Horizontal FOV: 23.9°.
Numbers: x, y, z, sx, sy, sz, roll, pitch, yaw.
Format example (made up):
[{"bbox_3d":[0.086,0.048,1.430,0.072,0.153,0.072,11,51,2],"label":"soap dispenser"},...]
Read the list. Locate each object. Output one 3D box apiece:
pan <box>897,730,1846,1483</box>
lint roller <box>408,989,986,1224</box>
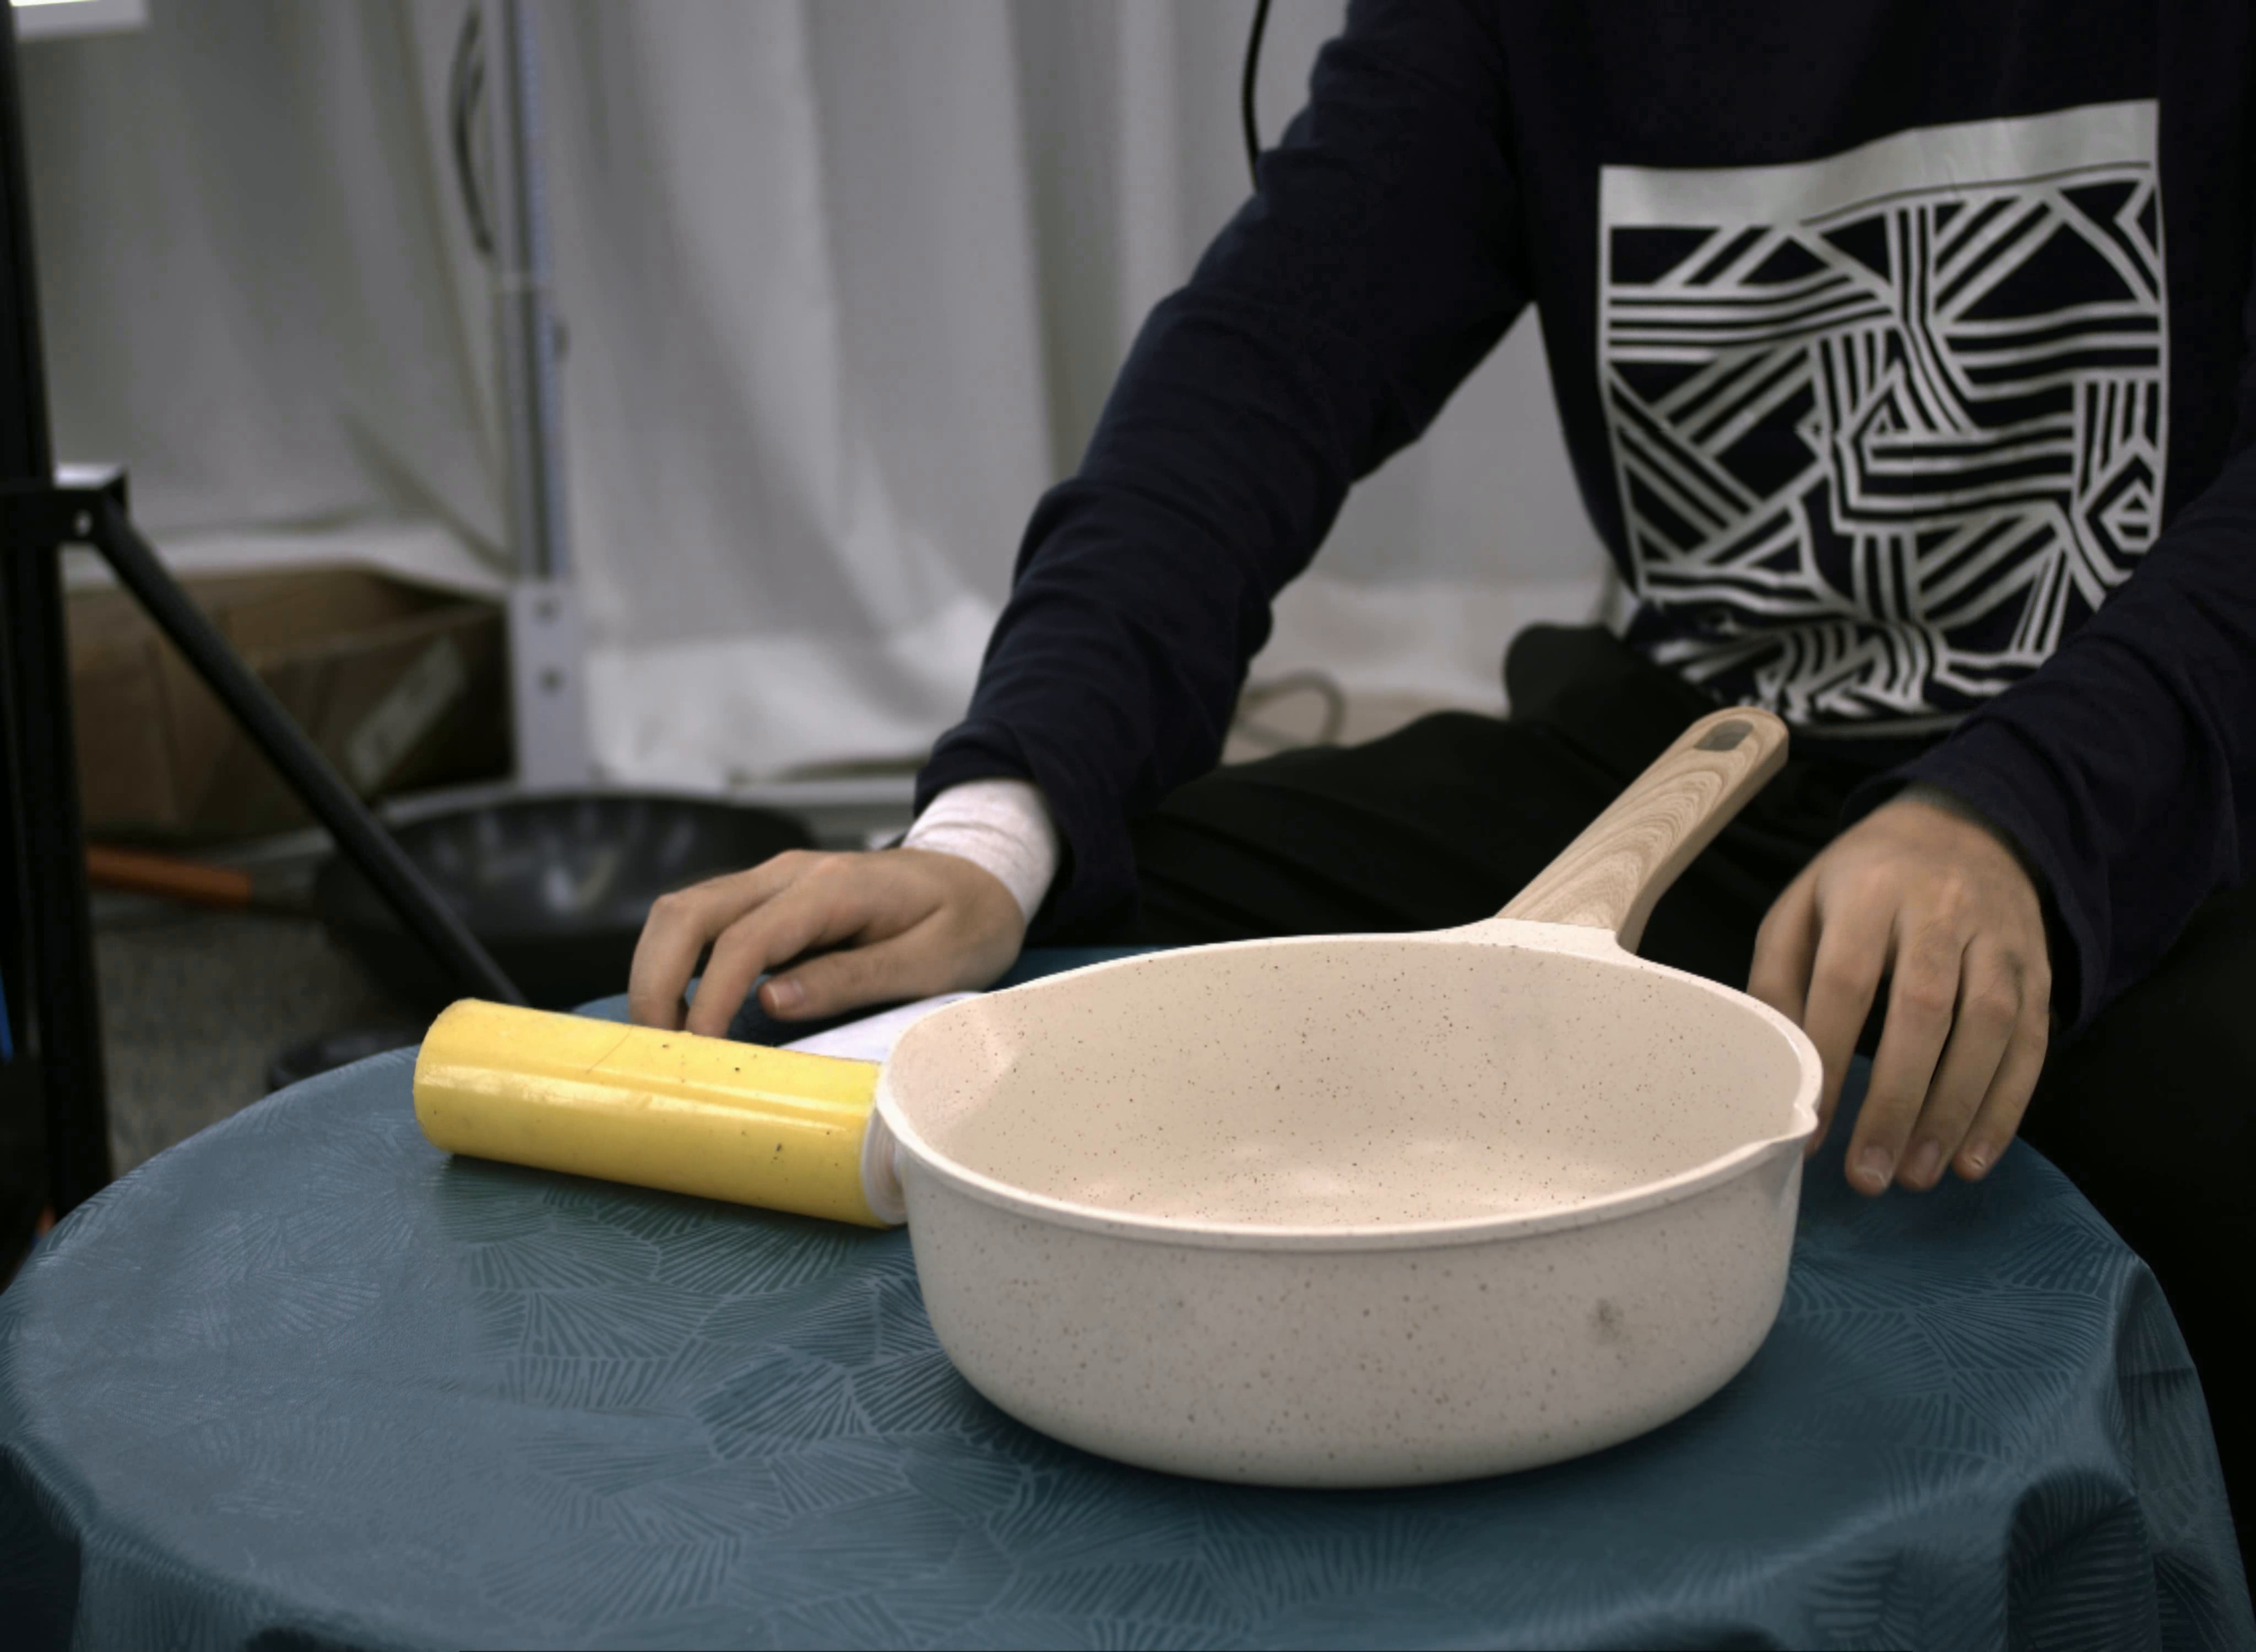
[{"bbox_3d":[0.105,0.074,1.489,0.267,0.102,0.428,3,16,27],"label":"pan"},{"bbox_3d":[-0.100,0.067,1.640,0.177,0.051,0.188,8,18,30],"label":"lint roller"}]
